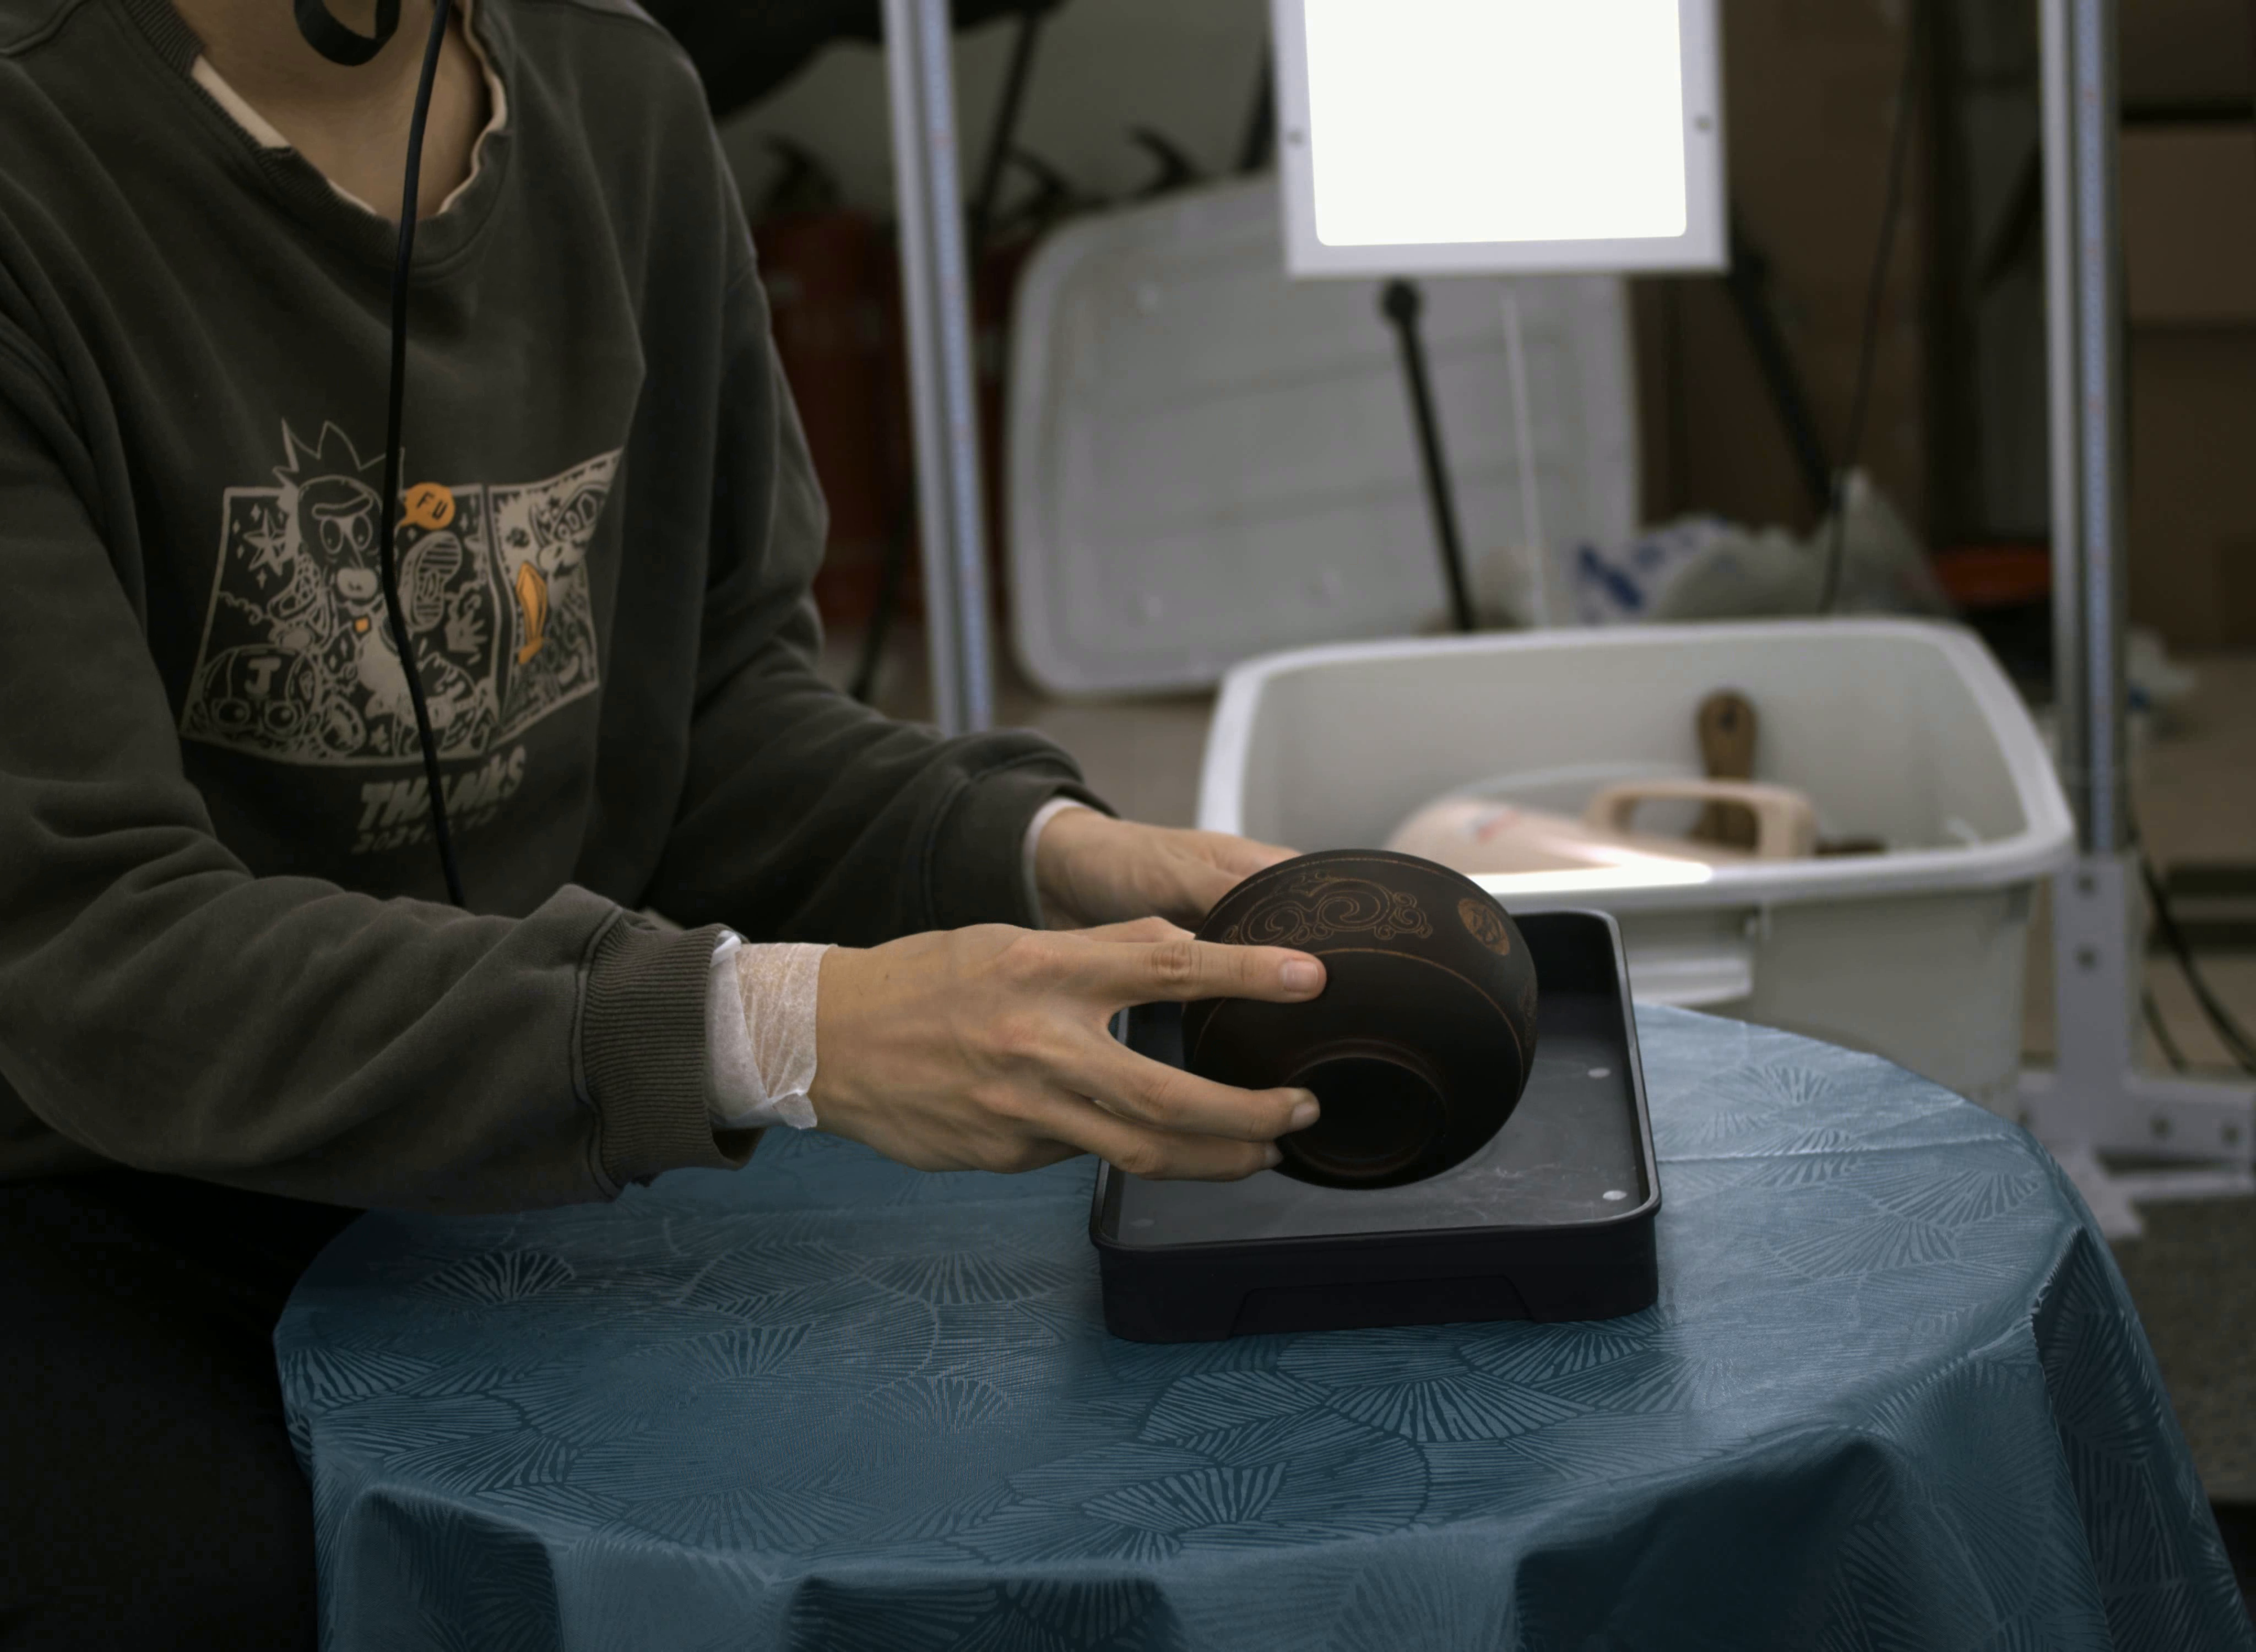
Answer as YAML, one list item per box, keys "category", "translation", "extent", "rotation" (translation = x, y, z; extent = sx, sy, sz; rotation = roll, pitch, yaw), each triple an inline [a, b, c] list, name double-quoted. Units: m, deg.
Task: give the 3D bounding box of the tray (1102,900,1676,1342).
- category: "tray"
  translation: [0.086, 0.096, 1.881]
  extent: [0.184, 0.037, 0.316]
  rotation: [-5, 17, 3]

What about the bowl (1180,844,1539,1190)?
- category: "bowl"
  translation: [0.075, 0.071, 1.776]
  extent: [0.118, 0.118, 0.069]
  rotation: [-3, 40, 5]
